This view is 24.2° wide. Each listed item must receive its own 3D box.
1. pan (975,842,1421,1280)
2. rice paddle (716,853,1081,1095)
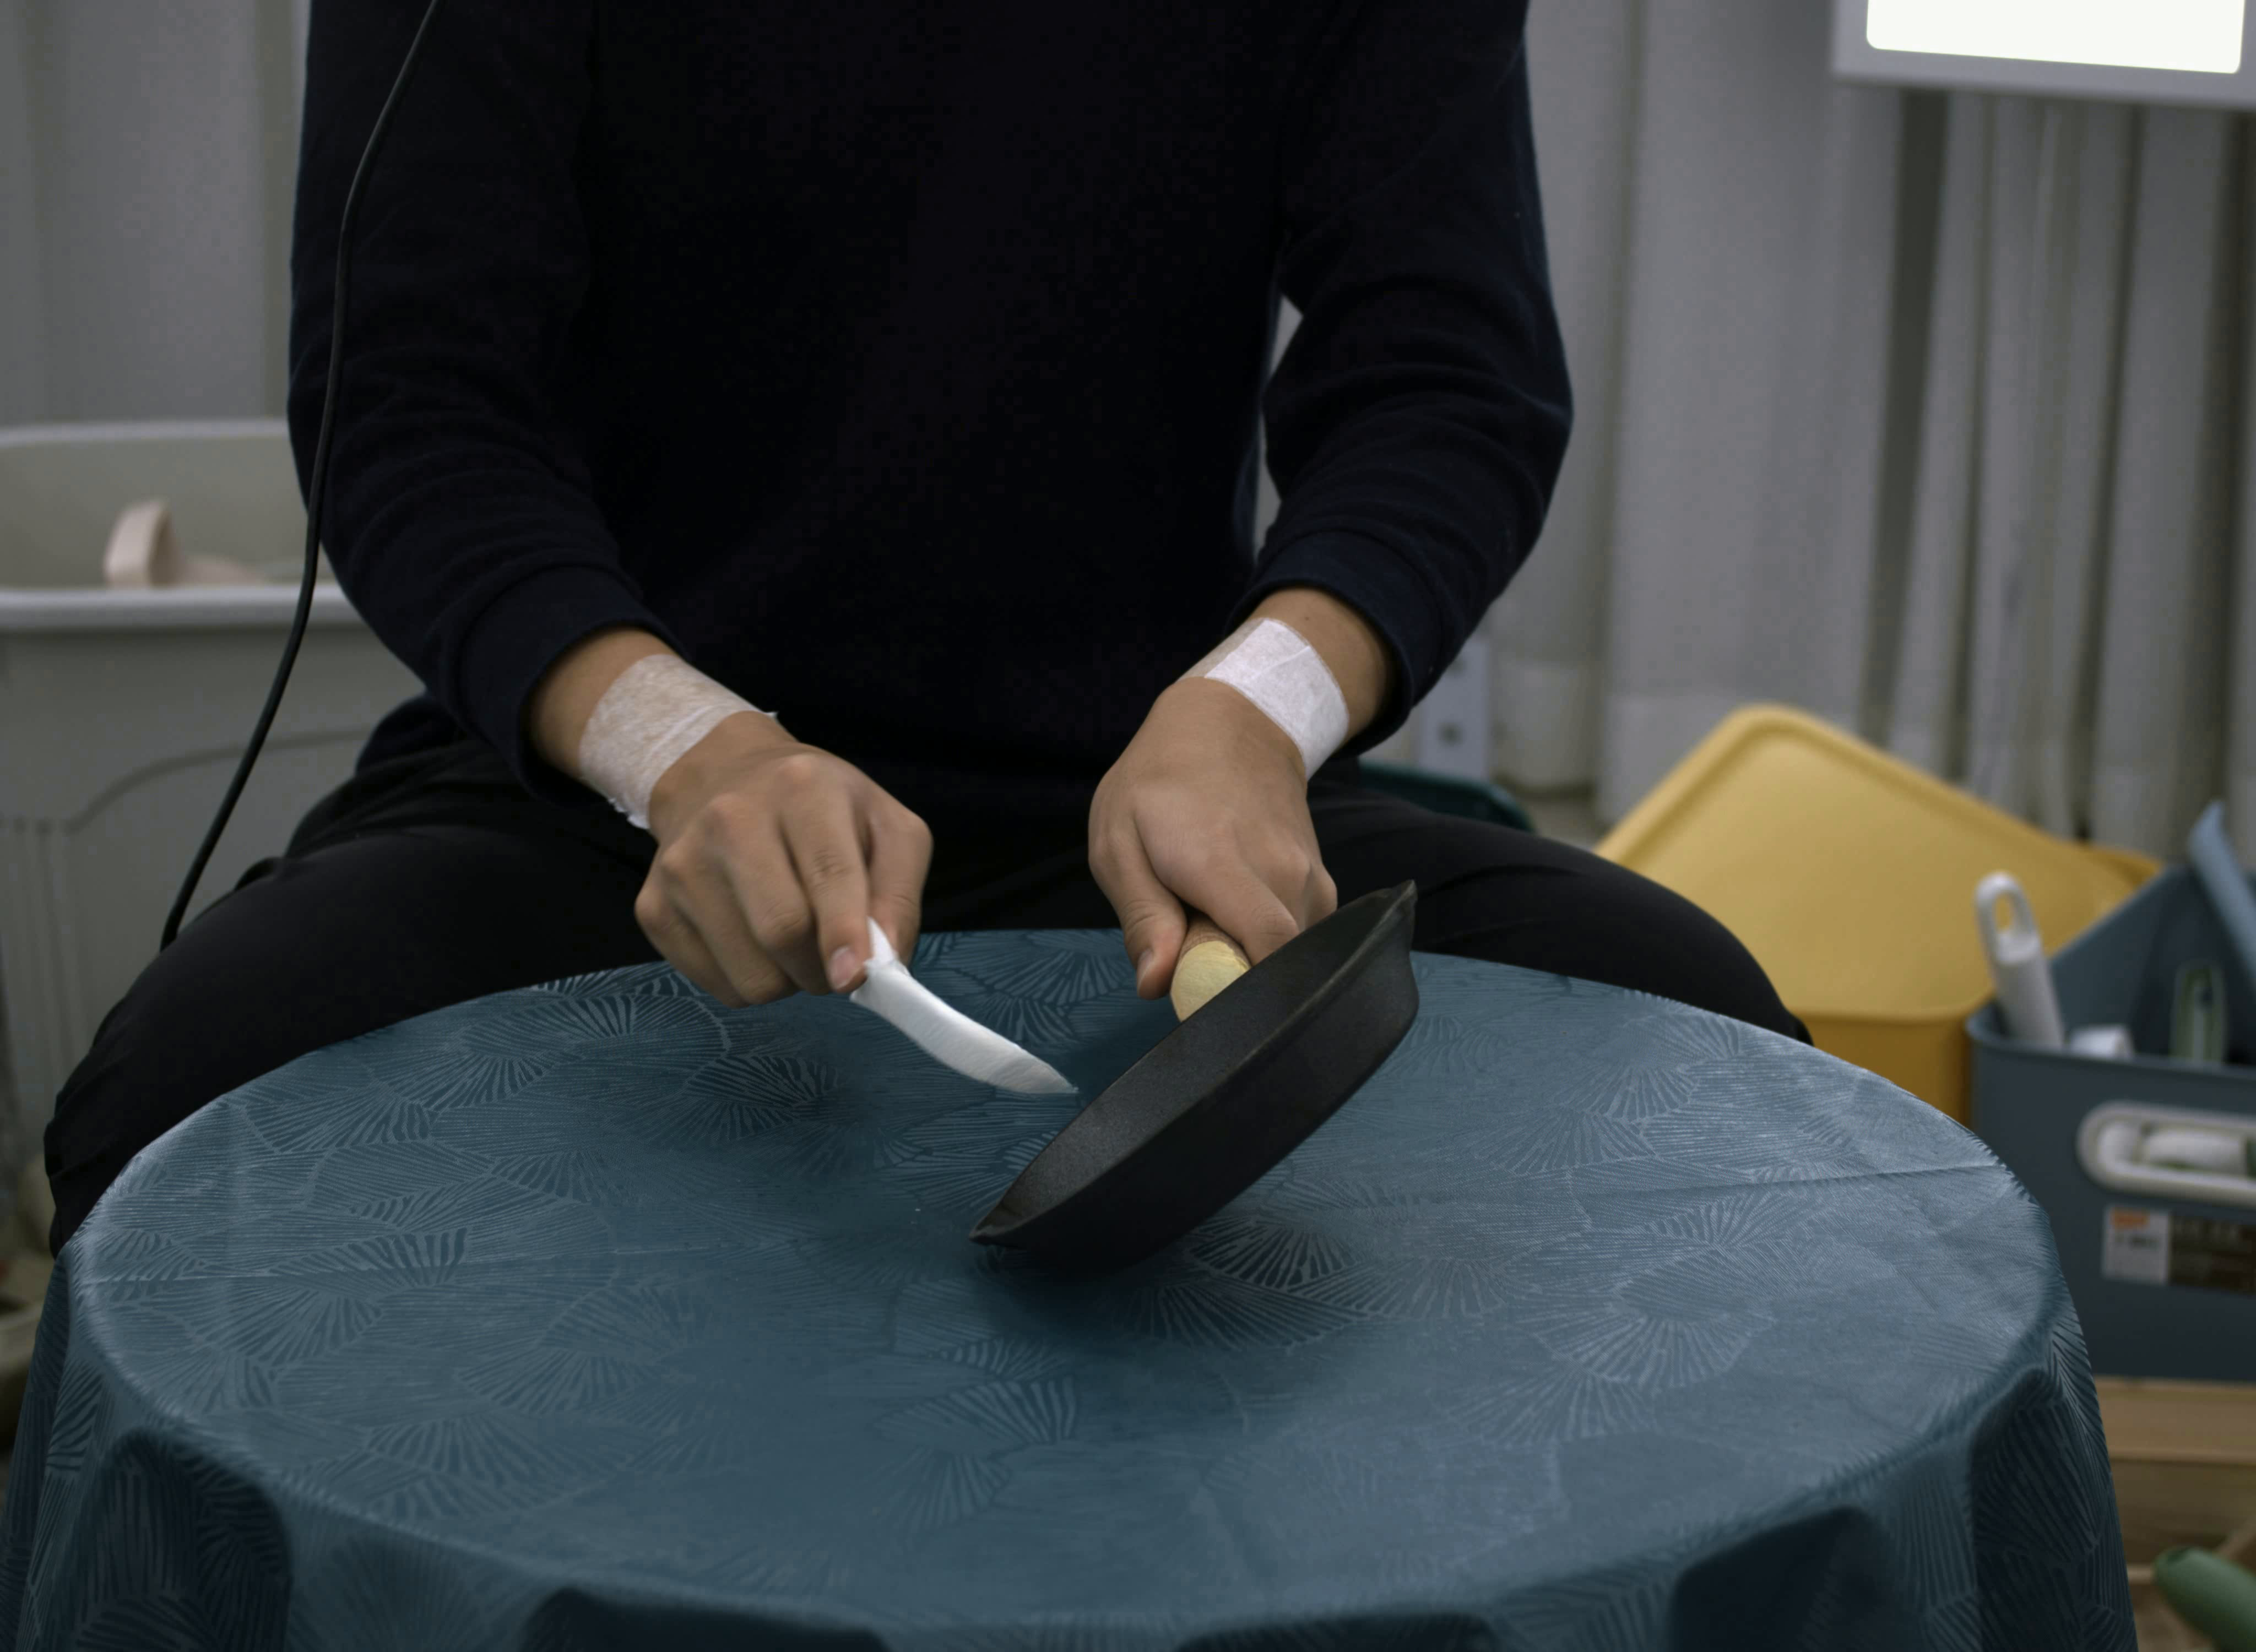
[{"bbox_3d":[0.030,0.058,1.627,0.169,0.050,0.323,-39,6,11],"label":"pan"},{"bbox_3d":[-0.073,0.047,1.619,0.069,0.029,0.203,26,1,-31],"label":"rice paddle"}]
